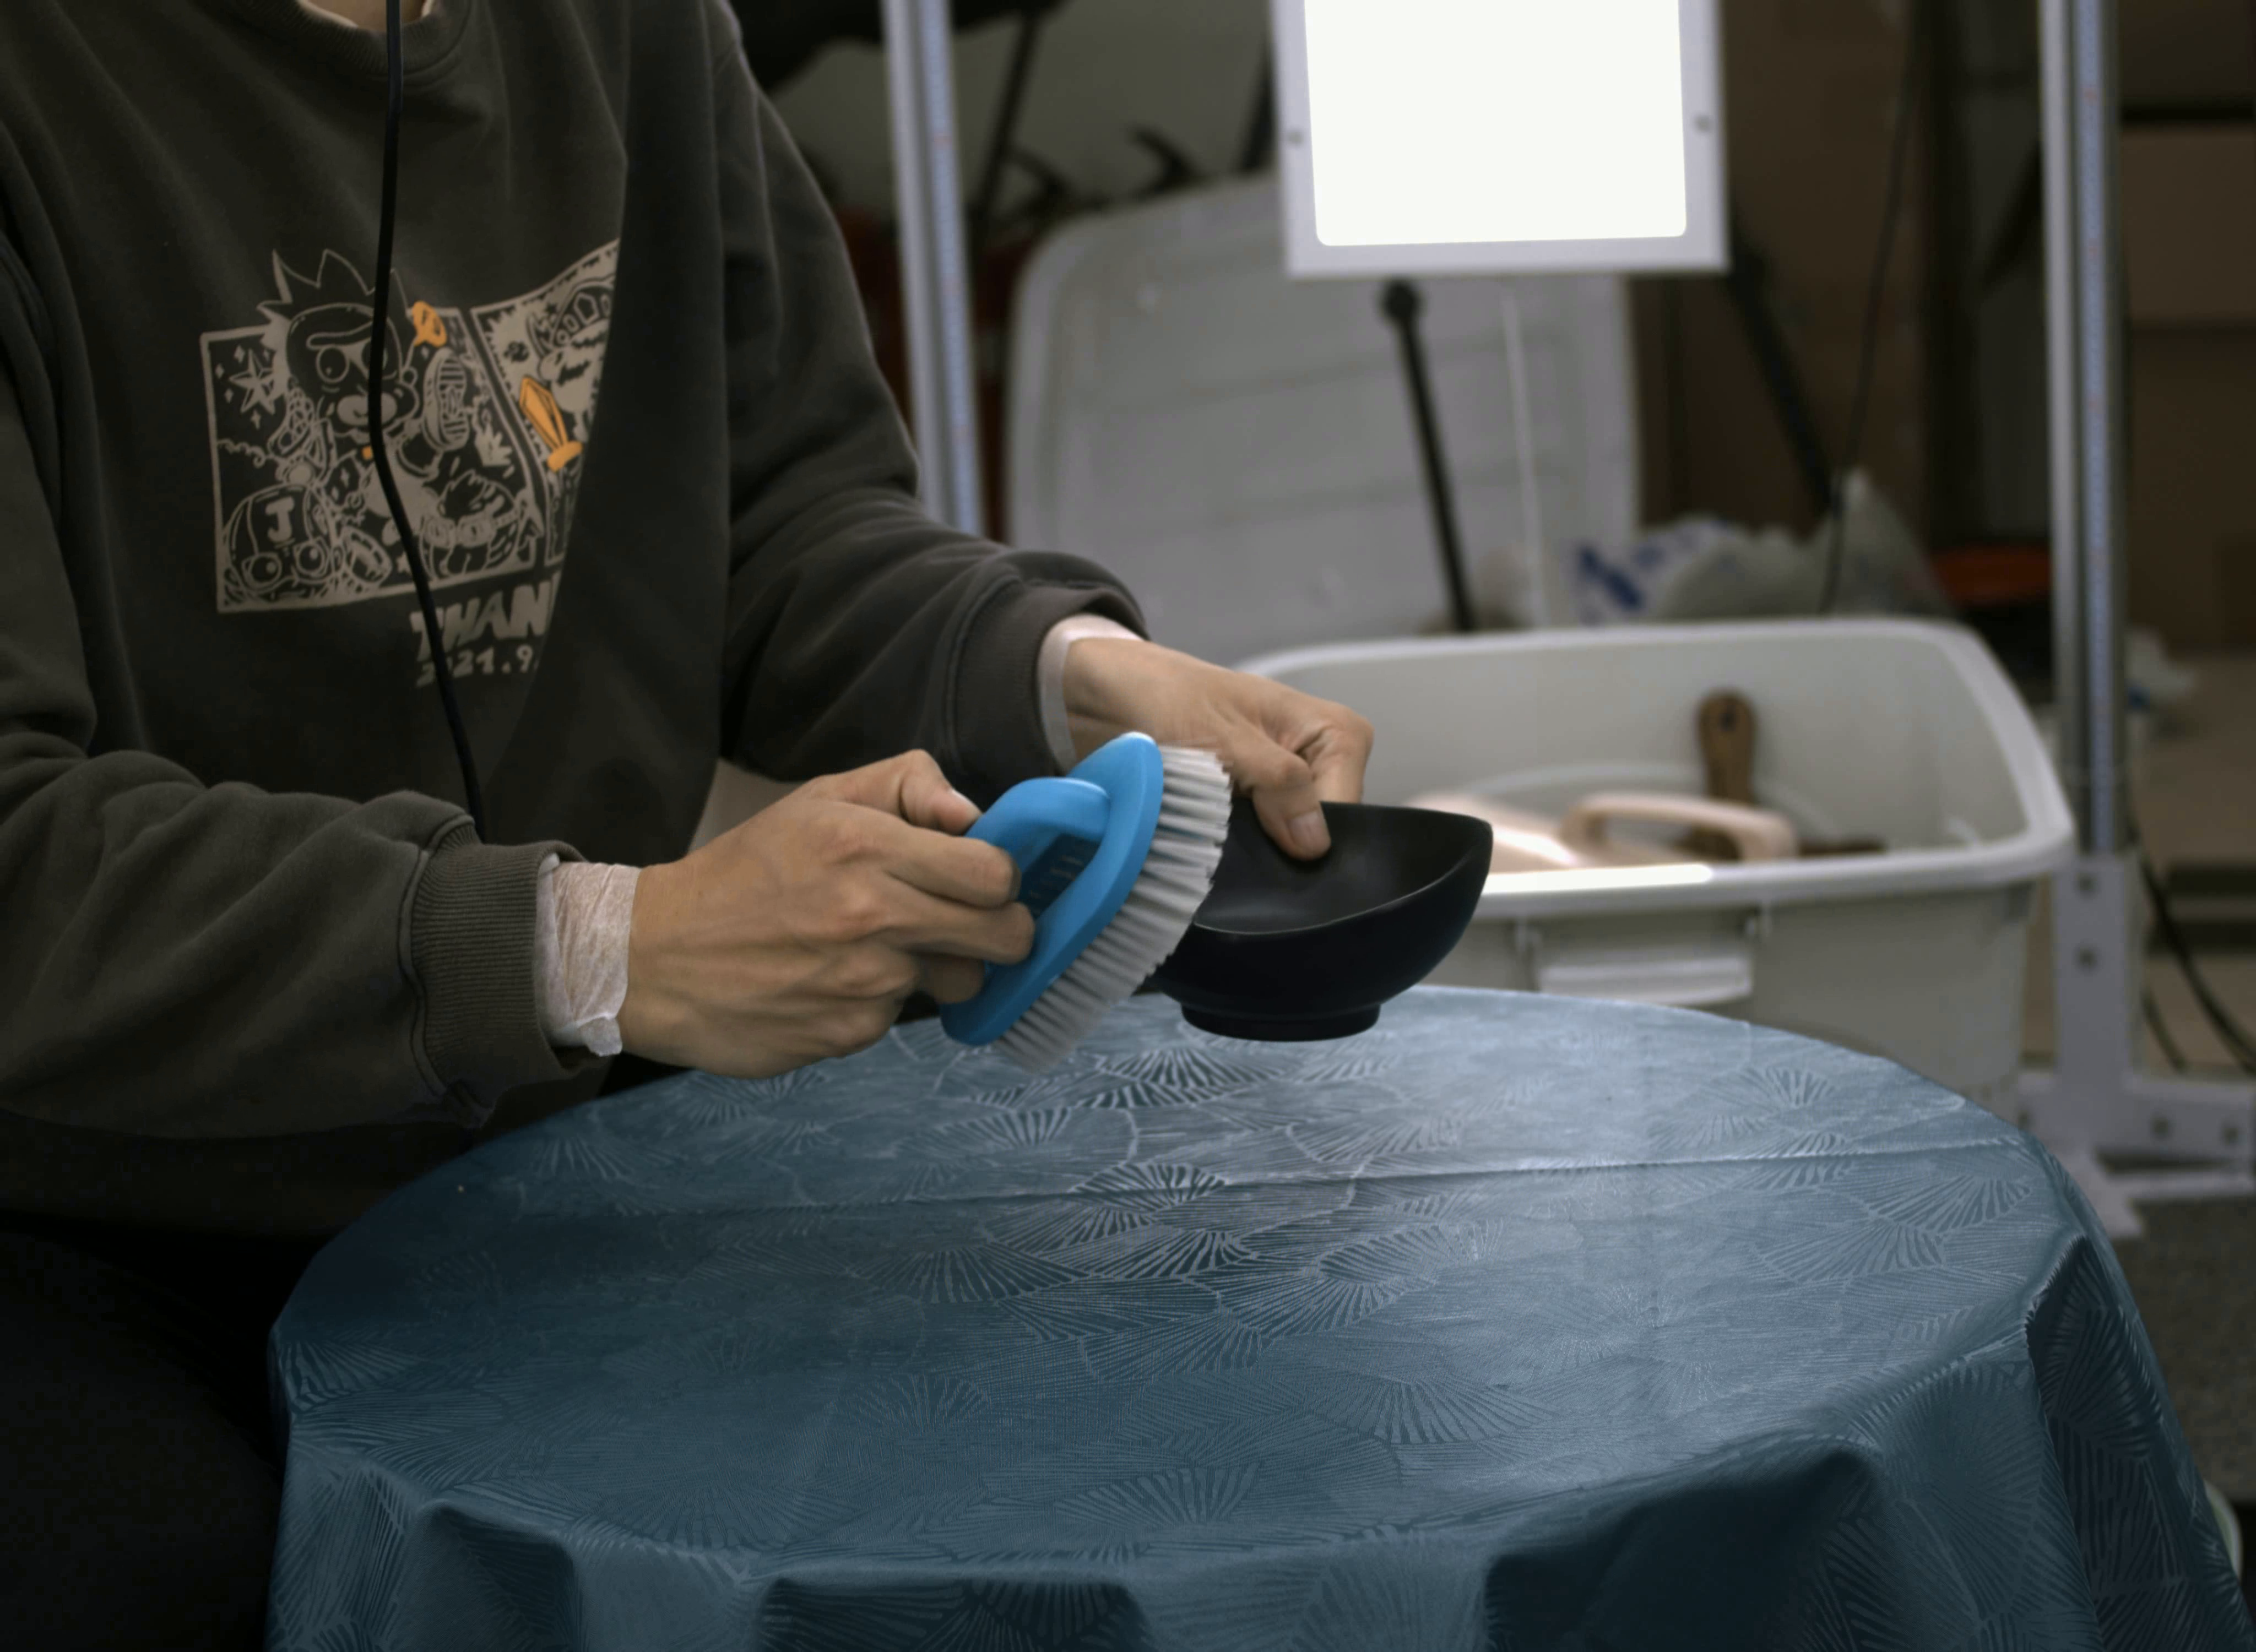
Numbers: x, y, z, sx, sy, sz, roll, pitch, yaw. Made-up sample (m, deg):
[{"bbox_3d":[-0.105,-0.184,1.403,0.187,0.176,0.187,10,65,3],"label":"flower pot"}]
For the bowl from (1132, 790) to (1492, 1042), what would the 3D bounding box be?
[{"bbox_3d":[0.054,0.033,1.859,0.138,0.067,0.168,3,14,10],"label":"bowl"}]

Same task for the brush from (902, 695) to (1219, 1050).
[{"bbox_3d":[-0.031,0.015,1.792,0.062,0.084,0.144,16,-38,-25],"label":"brush"}]
